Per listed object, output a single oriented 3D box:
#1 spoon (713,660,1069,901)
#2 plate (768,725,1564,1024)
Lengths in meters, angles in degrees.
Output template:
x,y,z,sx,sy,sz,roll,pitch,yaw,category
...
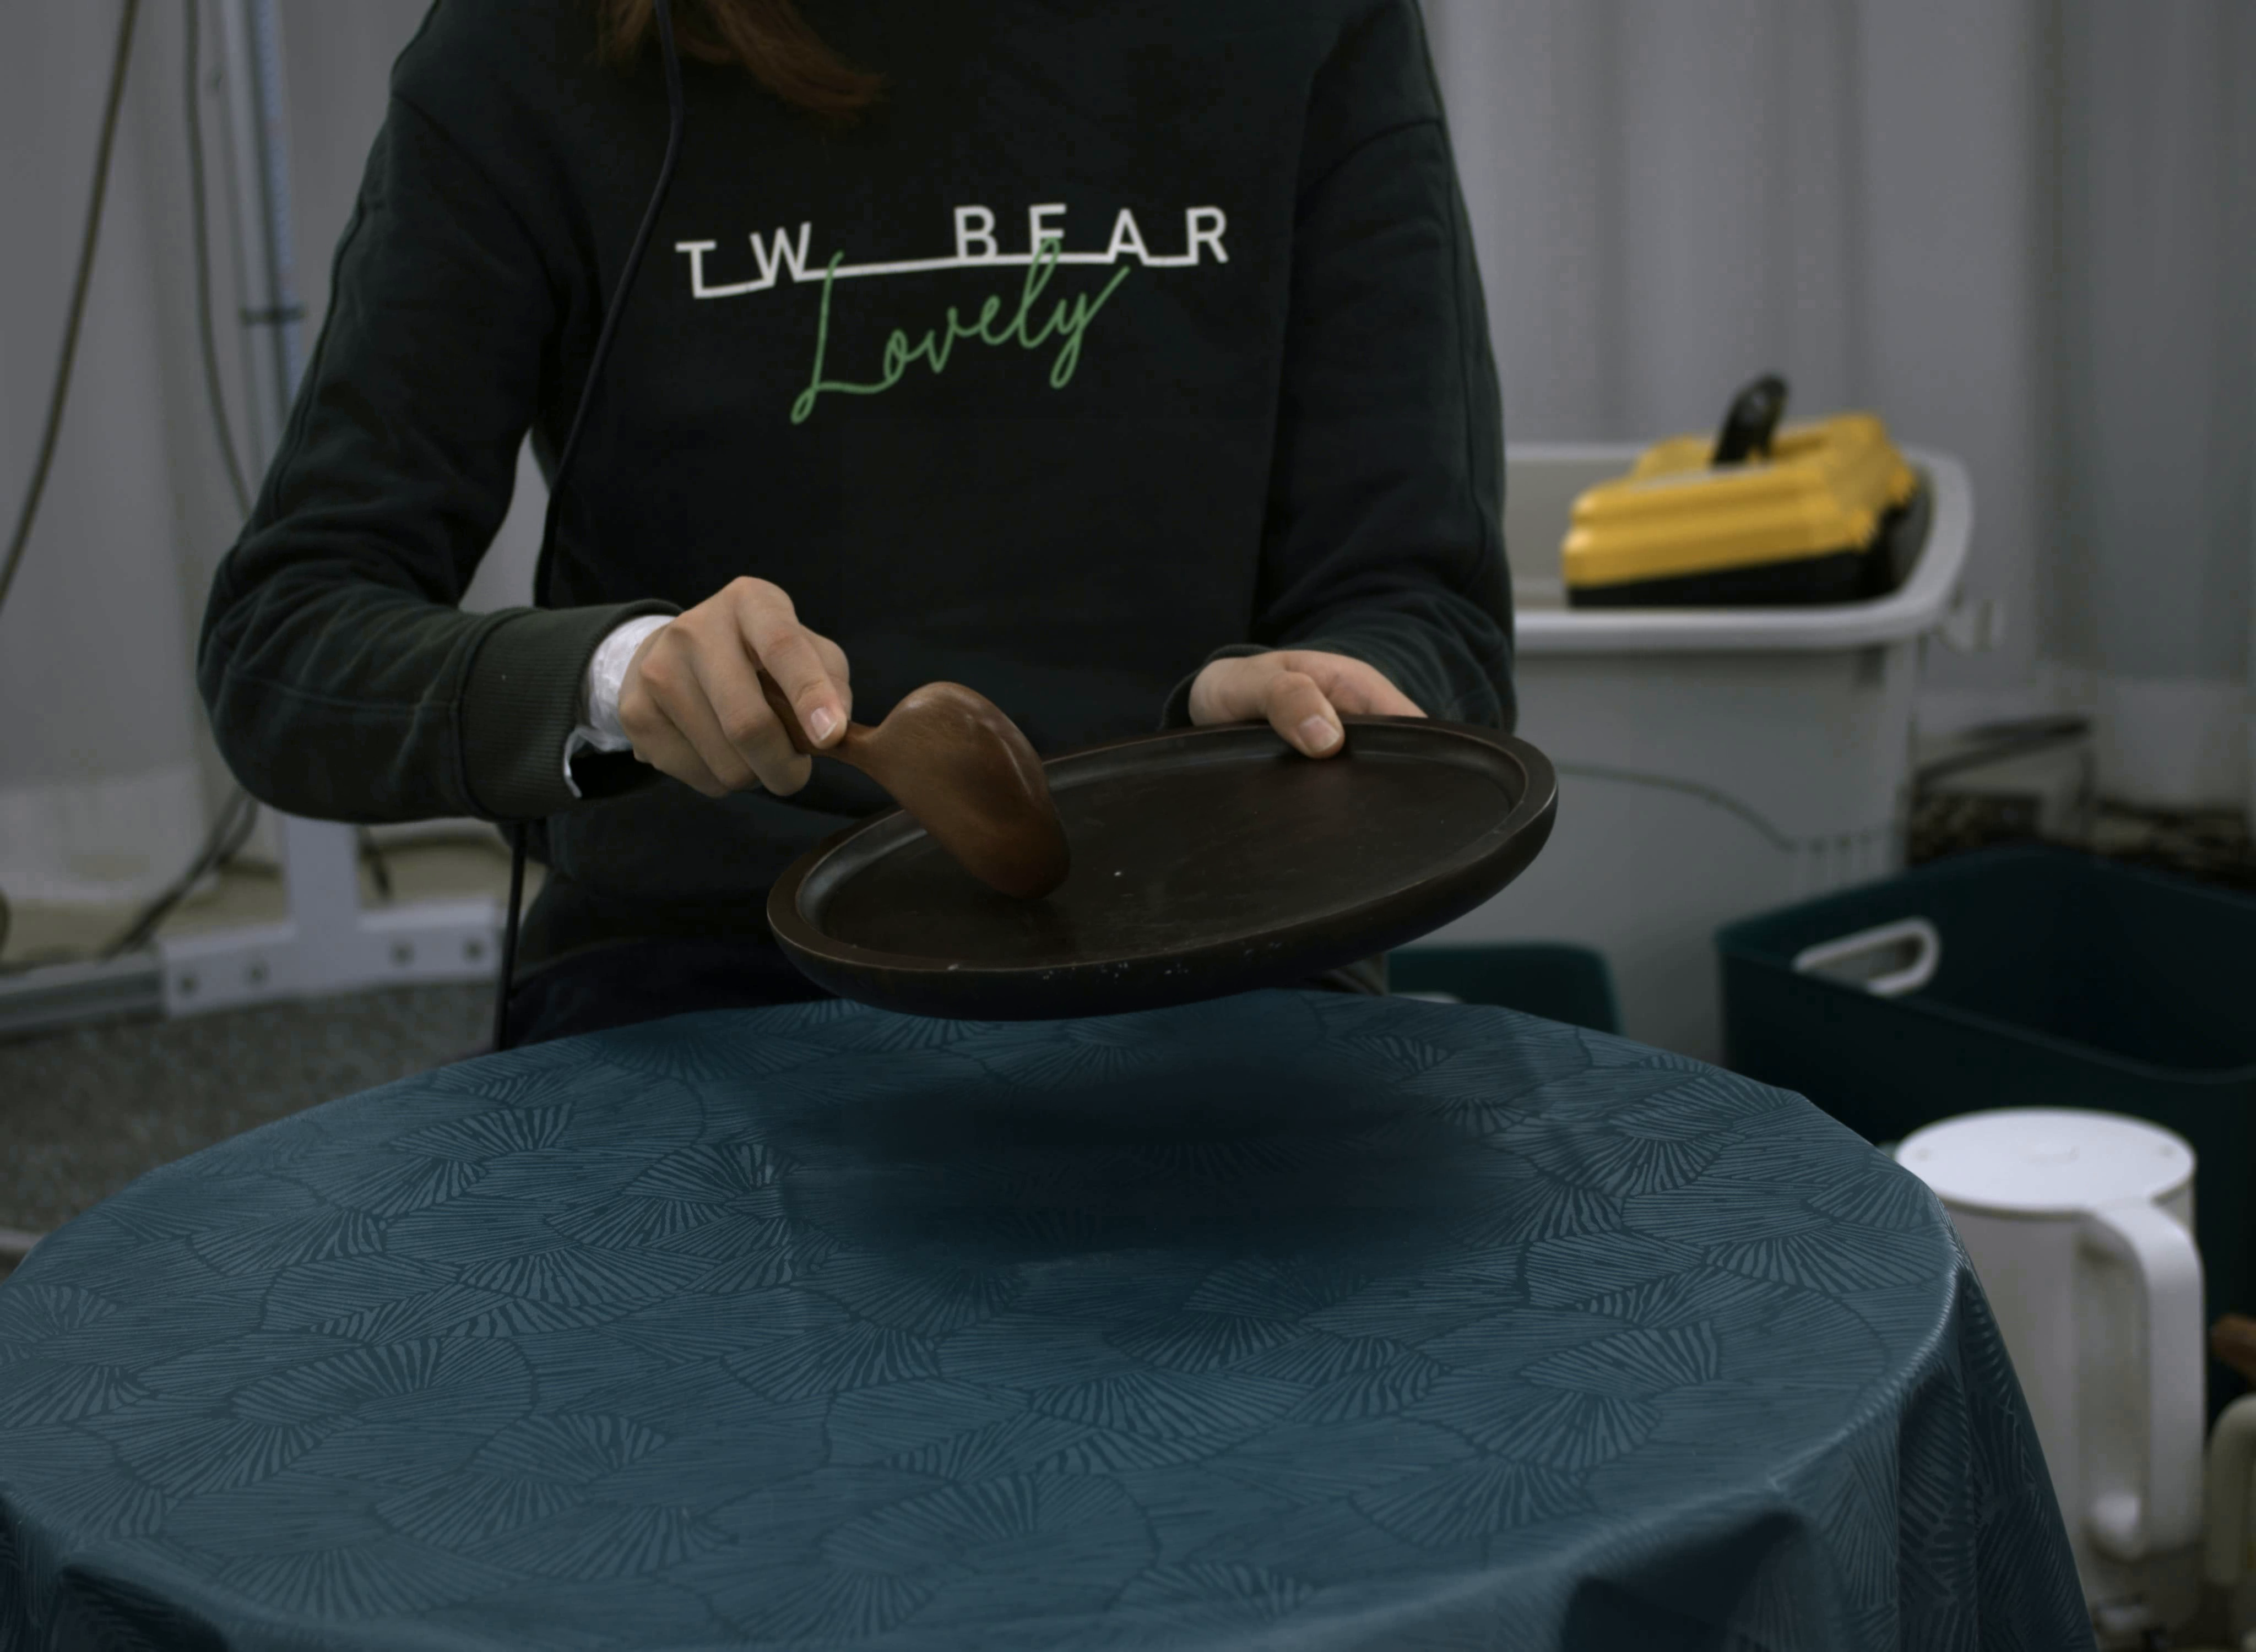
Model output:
x,y,z,sx,sy,sz,roll,pitch,yaw,category
-0.081,-0.022,1.759,0.017,0.075,0.217,-28,25,-22,spoon
0.012,0.013,1.724,0.254,0.029,0.257,-9,17,2,plate
